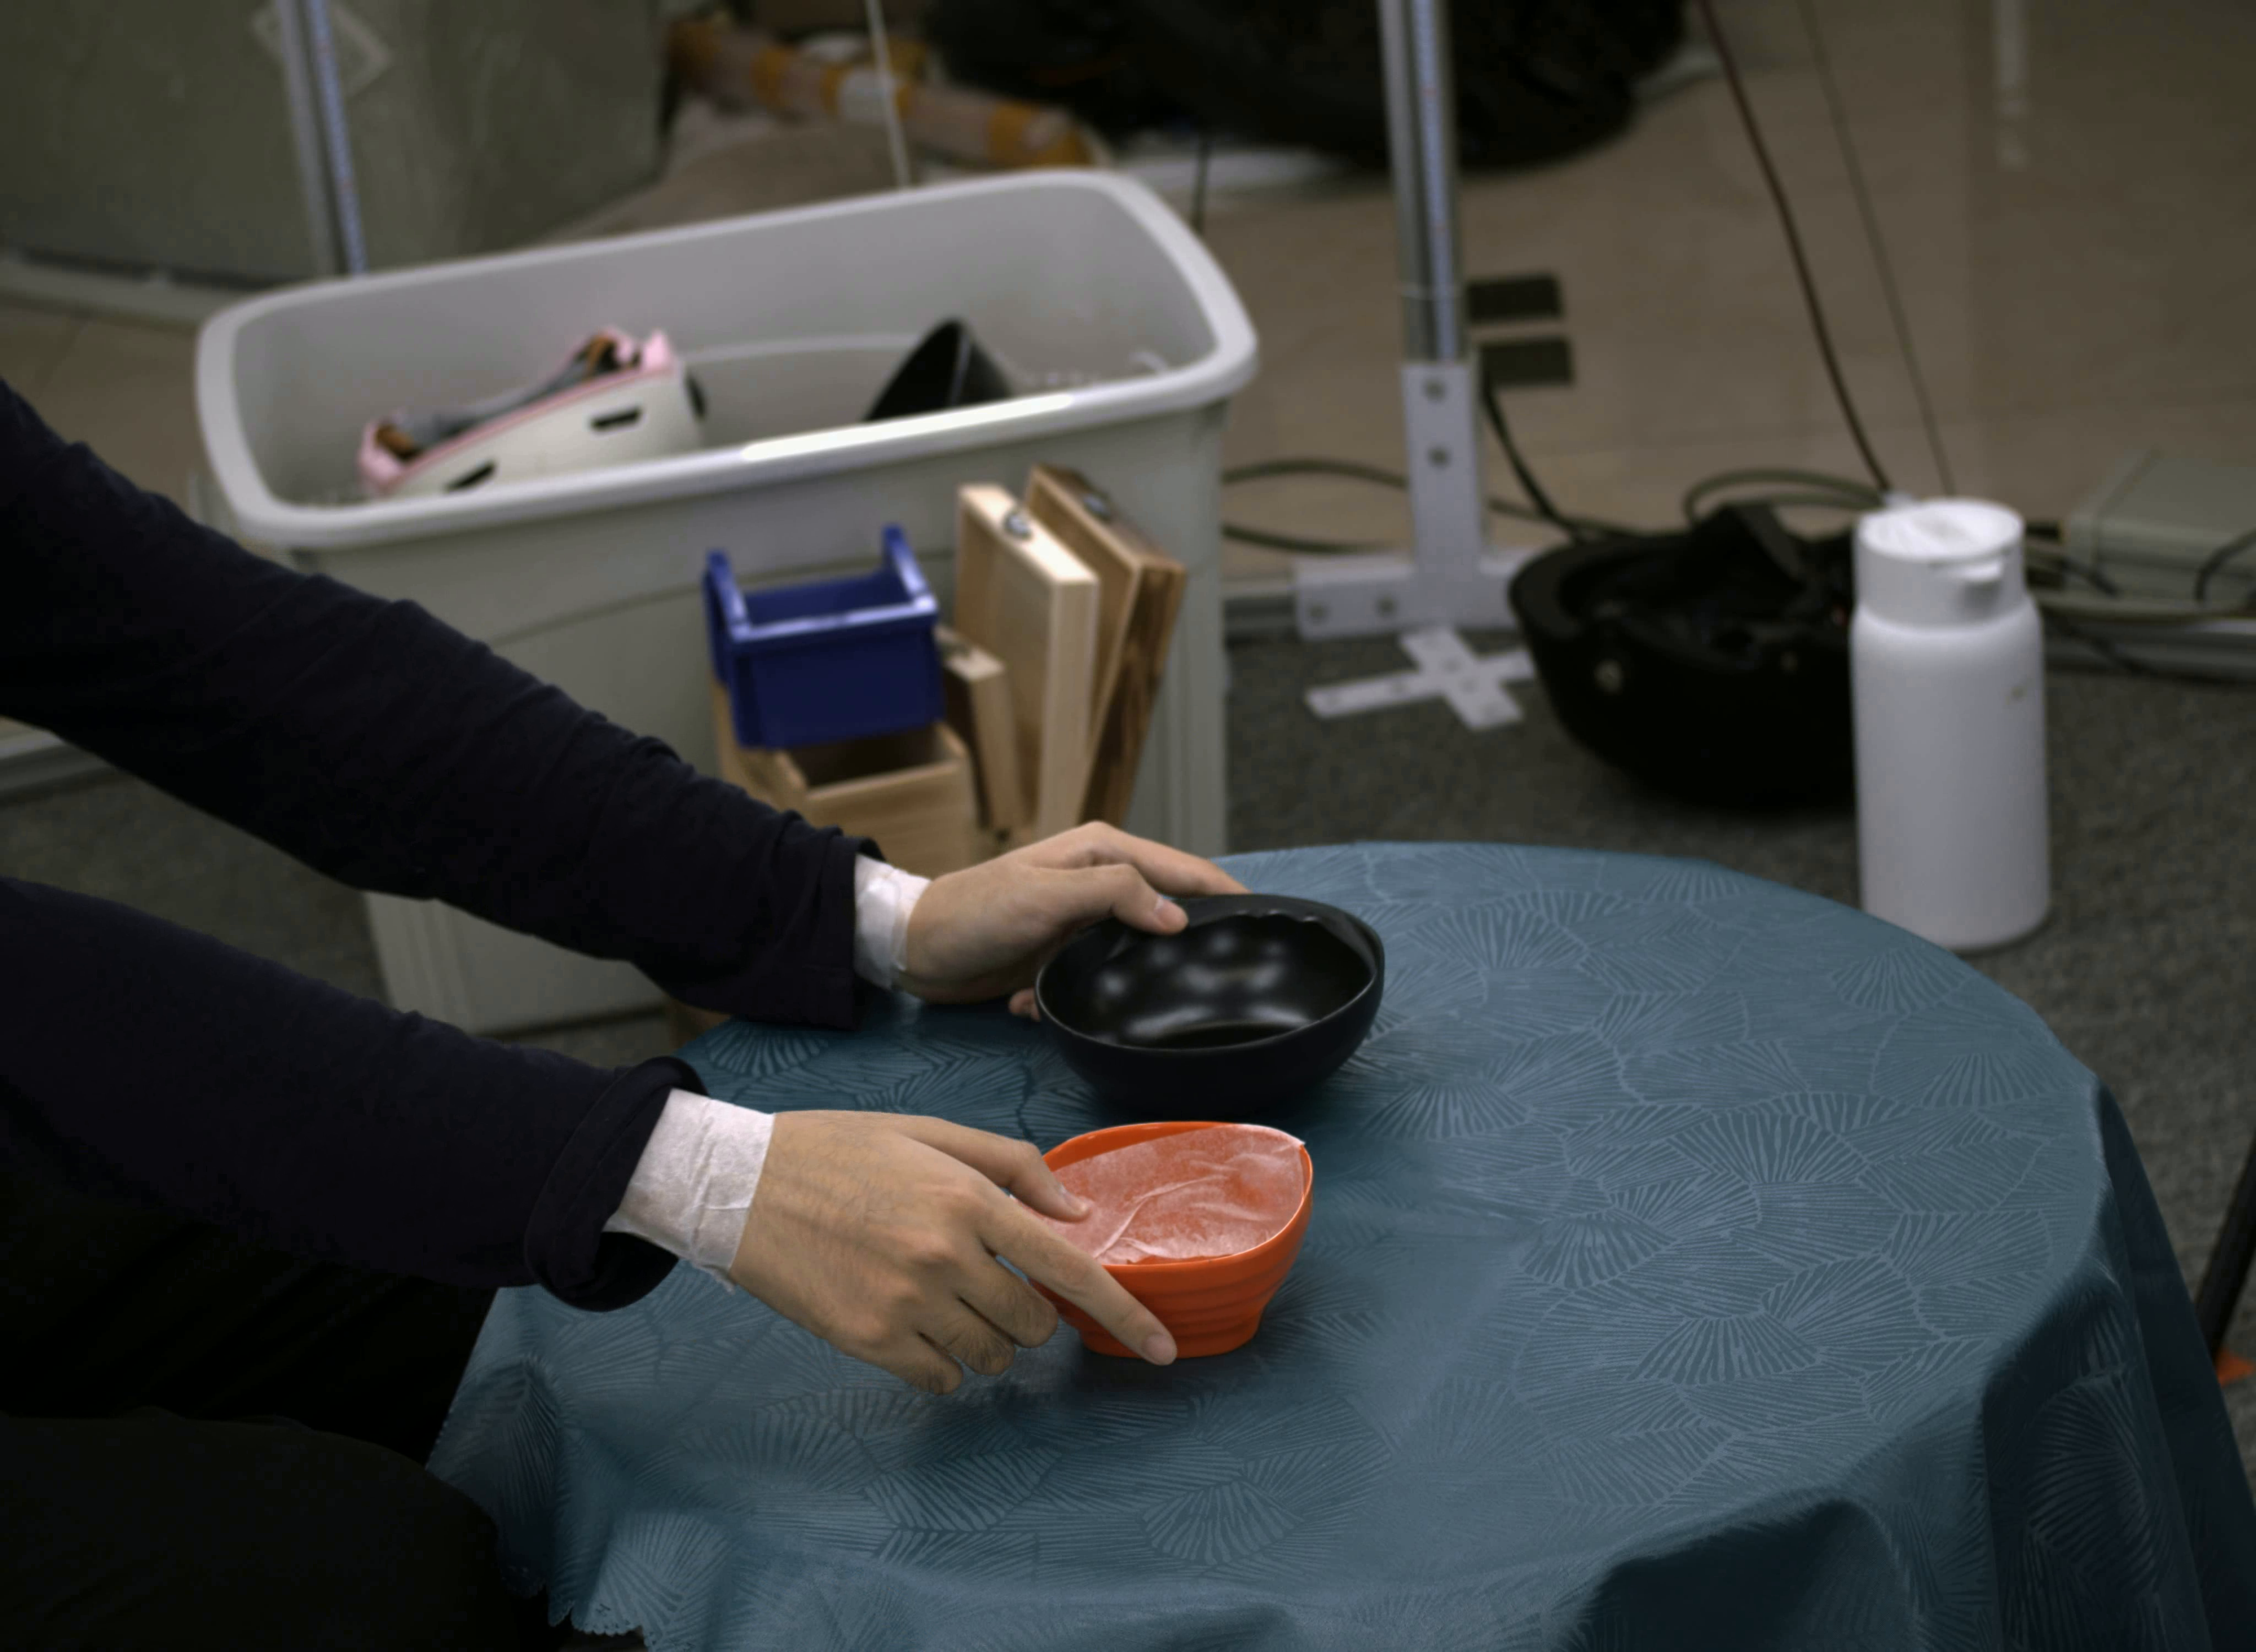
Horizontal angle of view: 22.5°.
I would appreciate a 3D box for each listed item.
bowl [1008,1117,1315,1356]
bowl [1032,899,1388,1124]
[{"bbox_3d":[0.014,0.153,2.054,0.119,0.052,0.117,-4,26,2],"label":"bowl"},{"bbox_3d":[0.035,0.080,2.217,0.140,0.050,0.138,-9,24,4],"label":"bowl"}]
